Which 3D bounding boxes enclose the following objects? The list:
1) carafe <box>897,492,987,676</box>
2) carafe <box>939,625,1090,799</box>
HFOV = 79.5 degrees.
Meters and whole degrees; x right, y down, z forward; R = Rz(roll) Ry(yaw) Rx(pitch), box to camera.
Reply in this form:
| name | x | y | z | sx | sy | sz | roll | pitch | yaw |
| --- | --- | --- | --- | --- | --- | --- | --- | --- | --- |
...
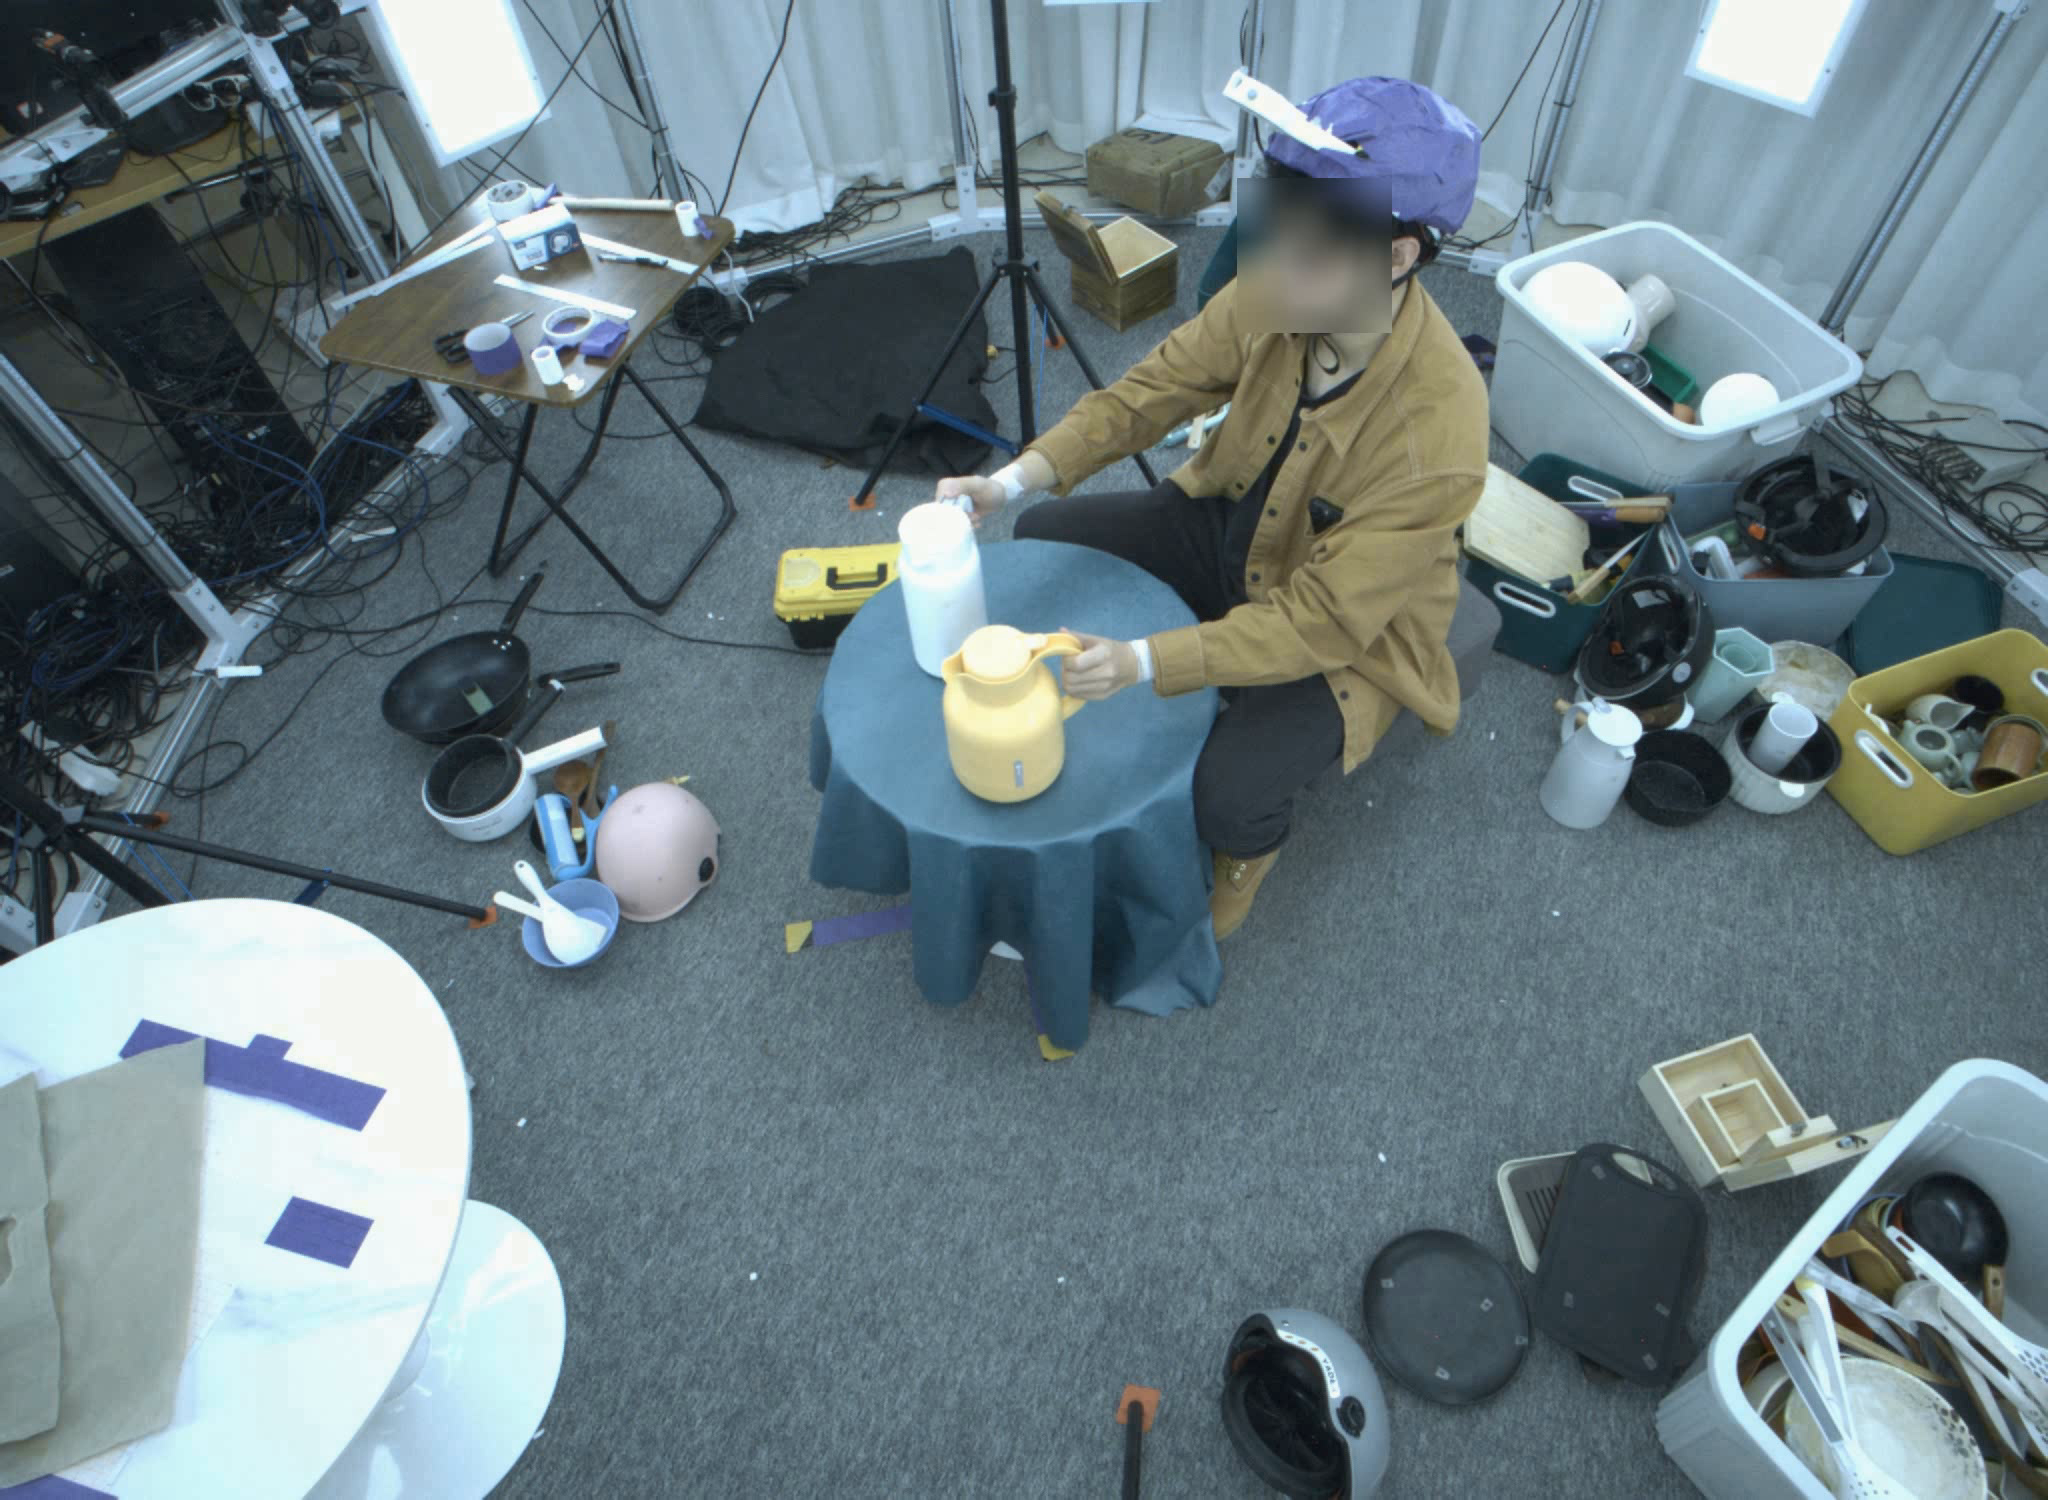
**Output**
| name | x | y | z | sx | sy | sz | roll | pitch | yaw |
| --- | --- | --- | --- | --- | --- | --- | --- | --- | --- |
| carafe | -0.115 | -0.245 | 1.796 | 0.122 | 0.272 | 0.172 | 12 | 56 | 13 |
| carafe | -0.010 | -0.061 | 1.664 | 0.203 | 0.263 | 0.161 | -14 | 57 | -5 |
